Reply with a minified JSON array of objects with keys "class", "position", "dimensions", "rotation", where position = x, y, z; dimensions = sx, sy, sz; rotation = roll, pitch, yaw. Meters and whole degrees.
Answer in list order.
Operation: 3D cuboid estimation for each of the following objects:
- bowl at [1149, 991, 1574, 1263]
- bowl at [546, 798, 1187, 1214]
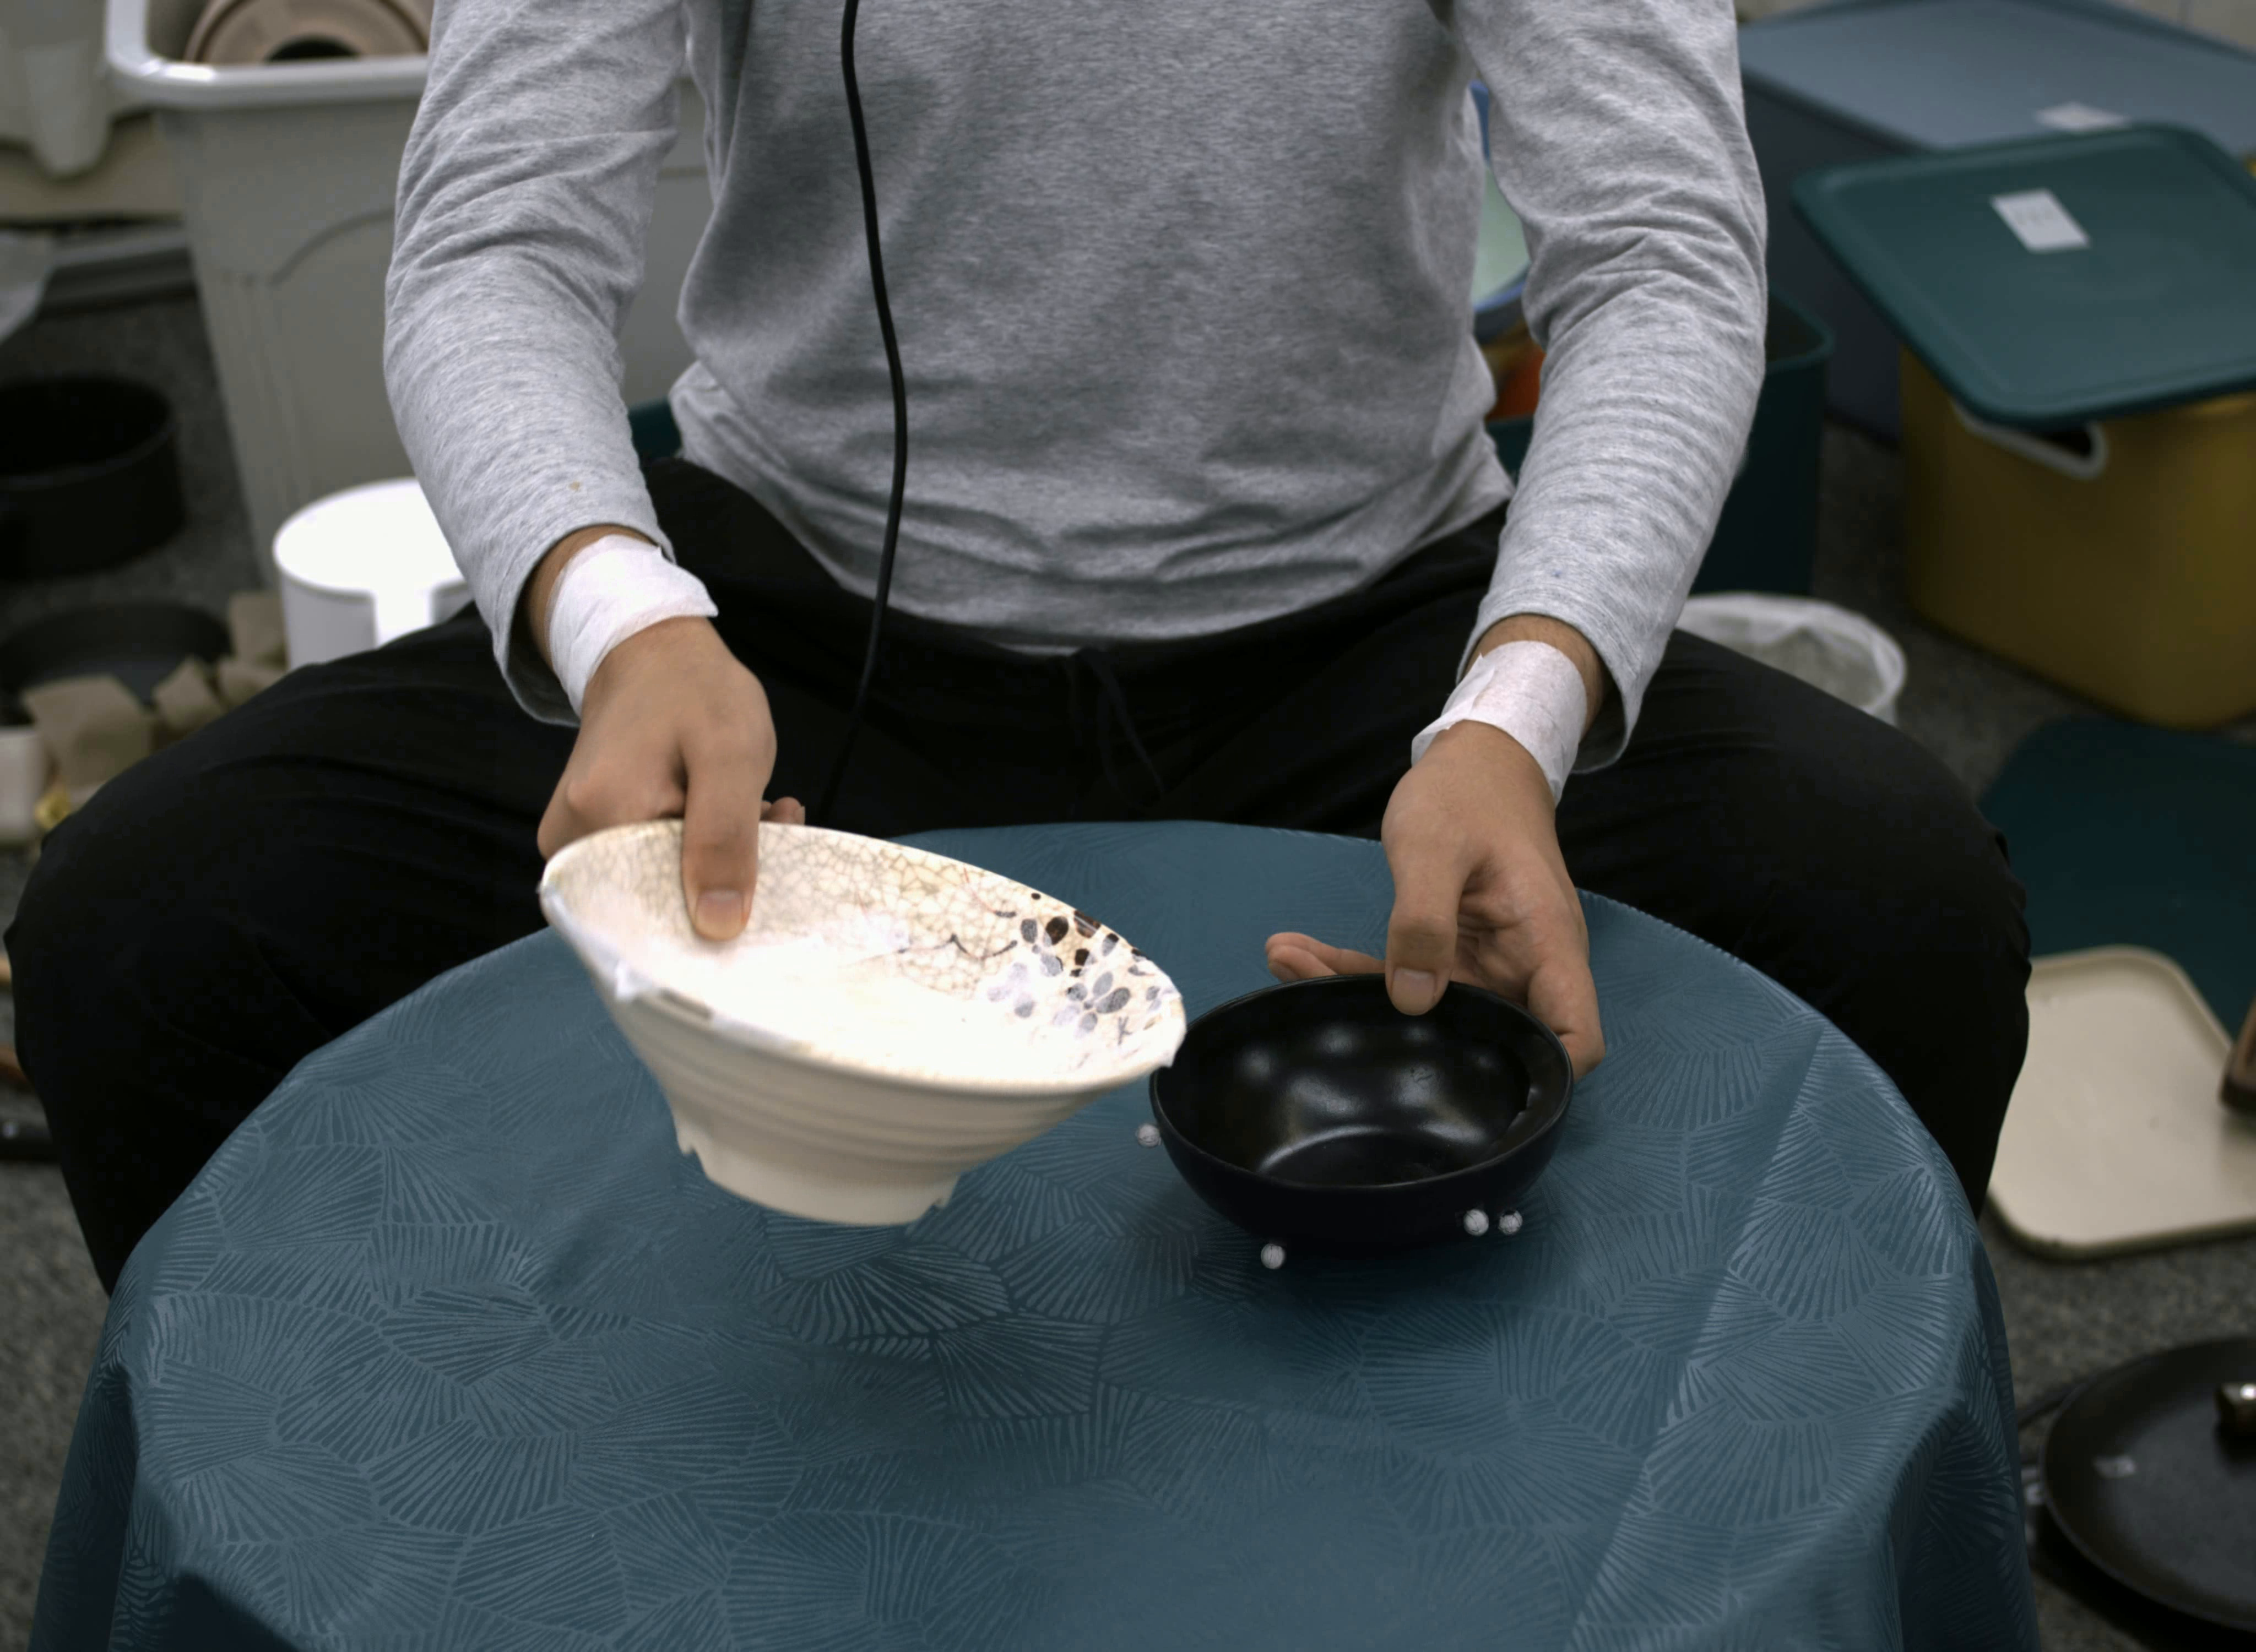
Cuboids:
[{"class":"bowl","position":[0.076,0.105,1.838],"dimensions":[0.139,0.049,0.142],"rotation":[0,23,1]},{"class":"bowl","position":[-0.089,0.066,1.729],"dimensions":[0.203,0.077,0.206],"rotation":[15,16,-4]}]
